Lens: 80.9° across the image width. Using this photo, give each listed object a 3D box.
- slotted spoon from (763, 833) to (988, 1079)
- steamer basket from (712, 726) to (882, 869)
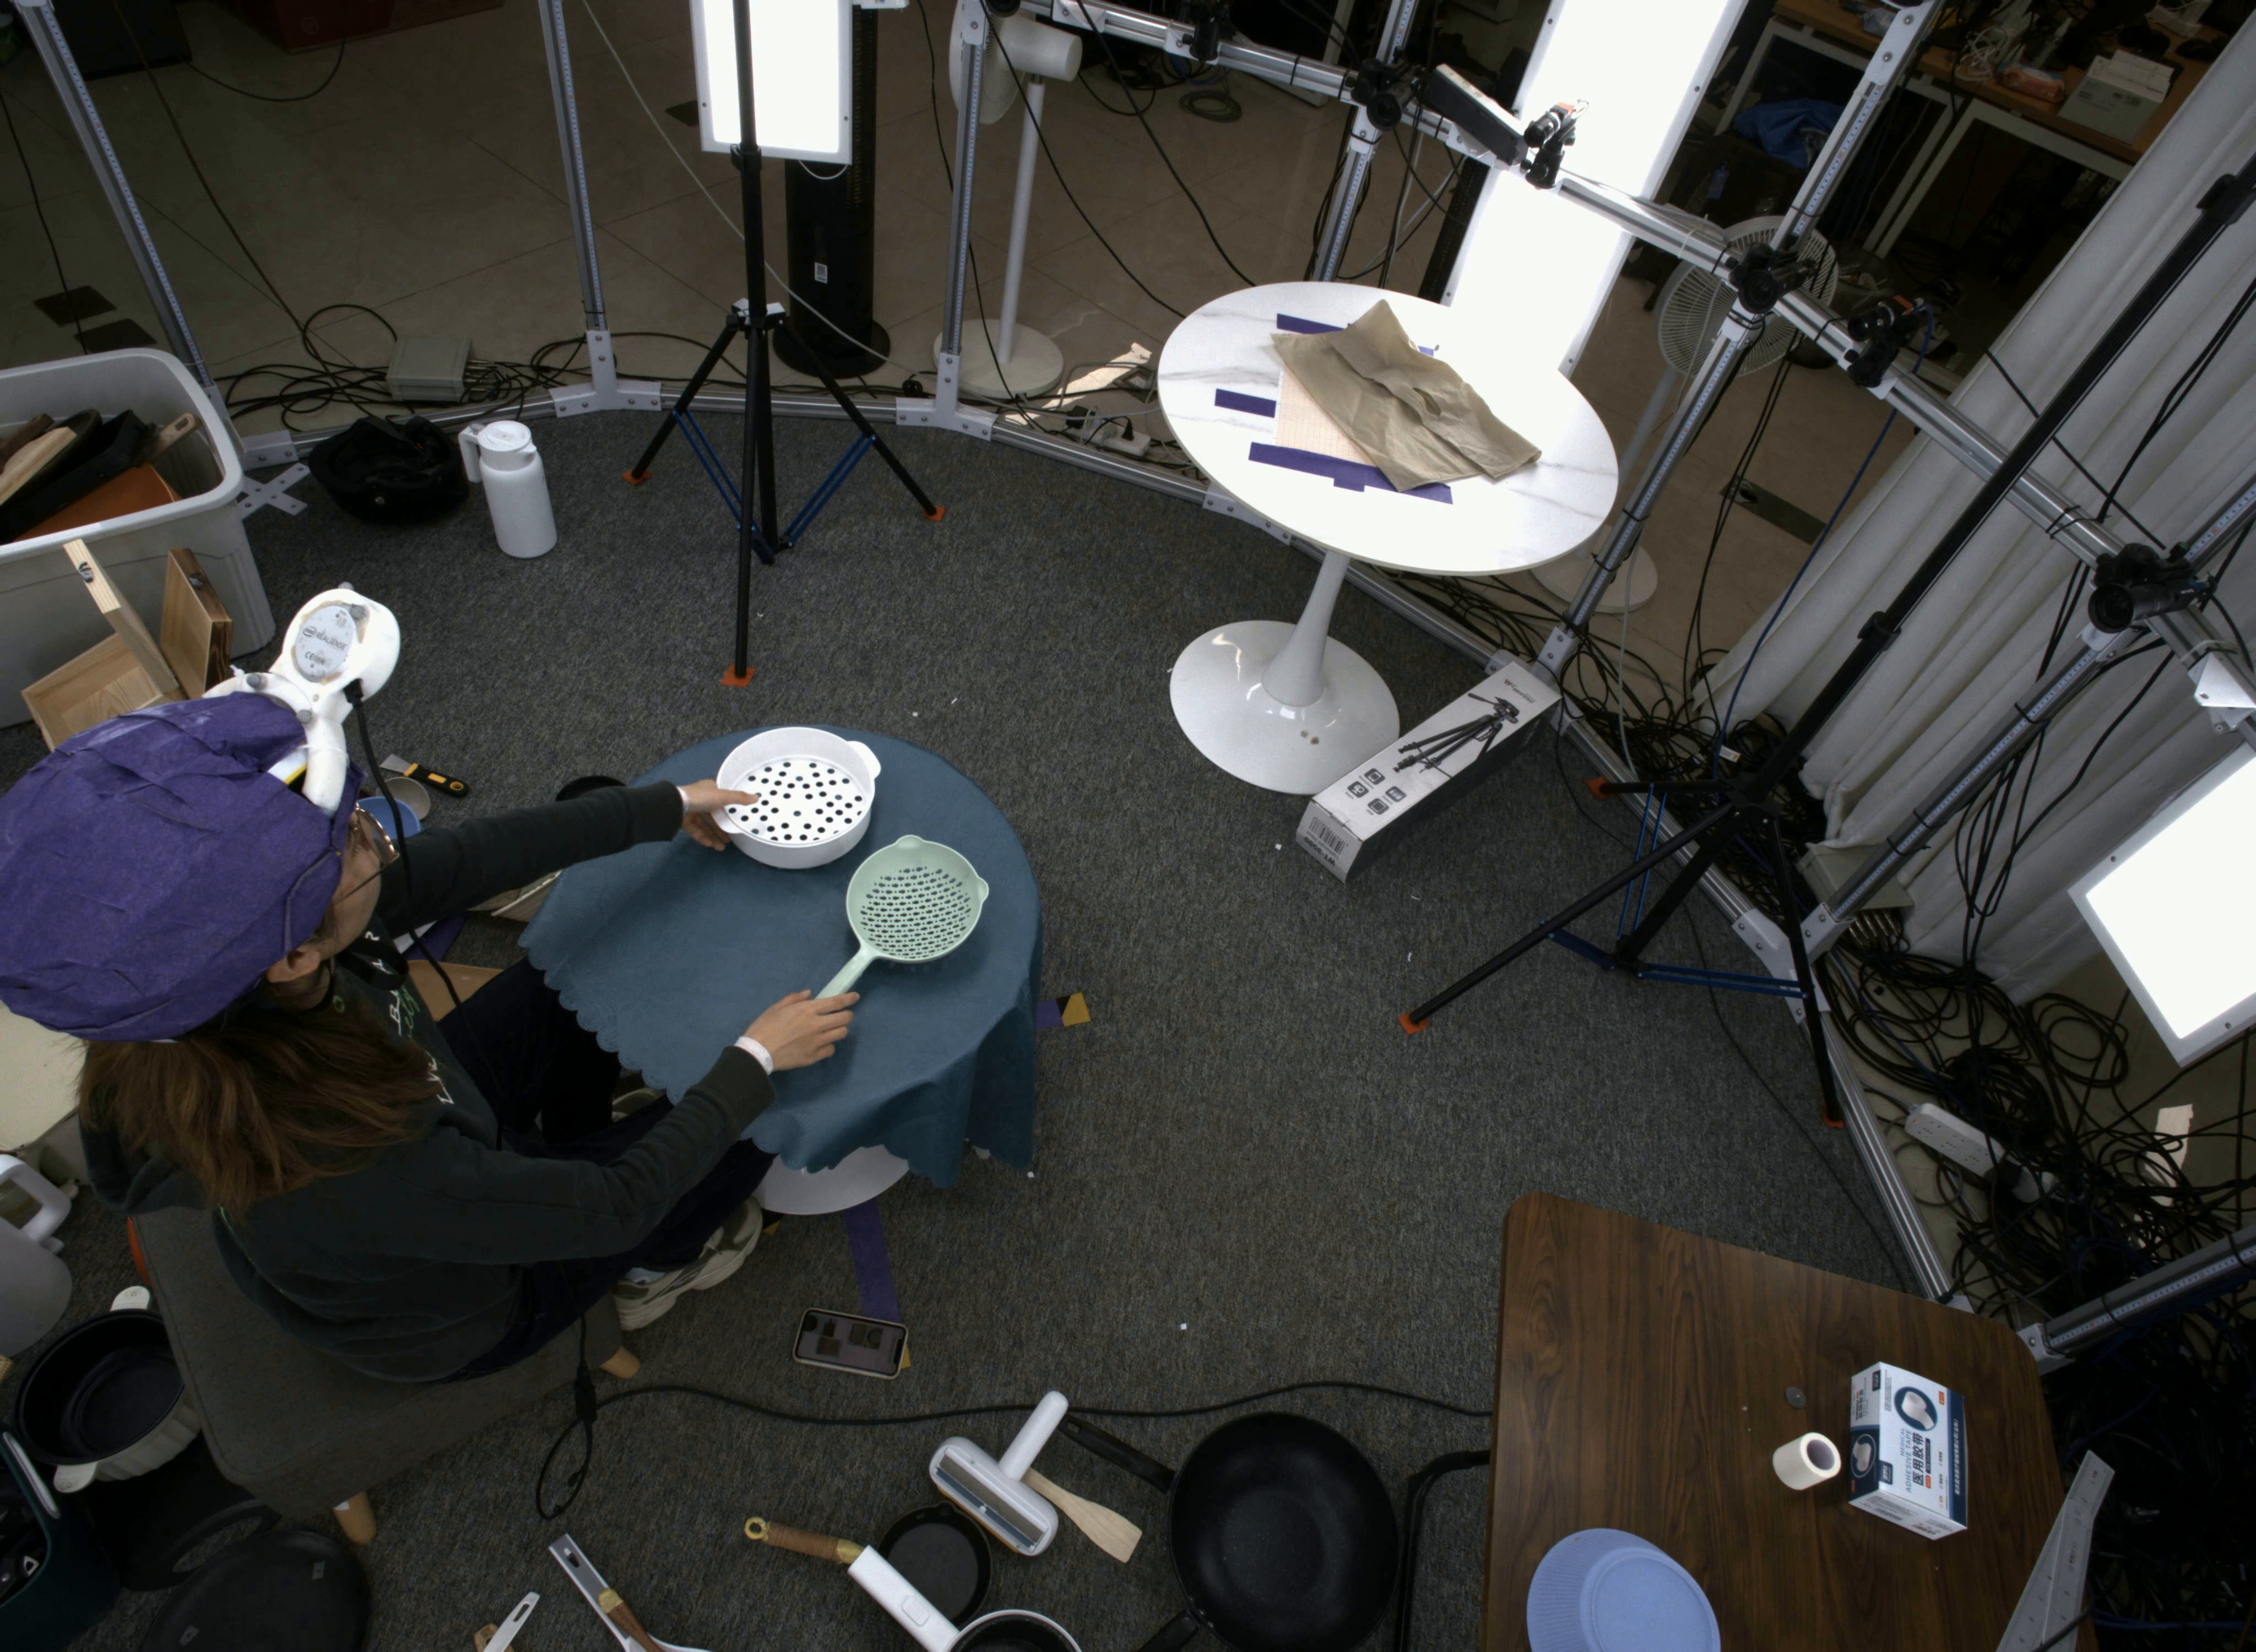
[{"bbox_3d":[-0.323,0.161,1.595,0.166,0.077,0.358,33,53,12],"label":"slotted spoon"},{"bbox_3d":[-0.434,-0.038,1.713,0.231,0.071,0.197,-27,63,-29],"label":"steamer basket"}]
